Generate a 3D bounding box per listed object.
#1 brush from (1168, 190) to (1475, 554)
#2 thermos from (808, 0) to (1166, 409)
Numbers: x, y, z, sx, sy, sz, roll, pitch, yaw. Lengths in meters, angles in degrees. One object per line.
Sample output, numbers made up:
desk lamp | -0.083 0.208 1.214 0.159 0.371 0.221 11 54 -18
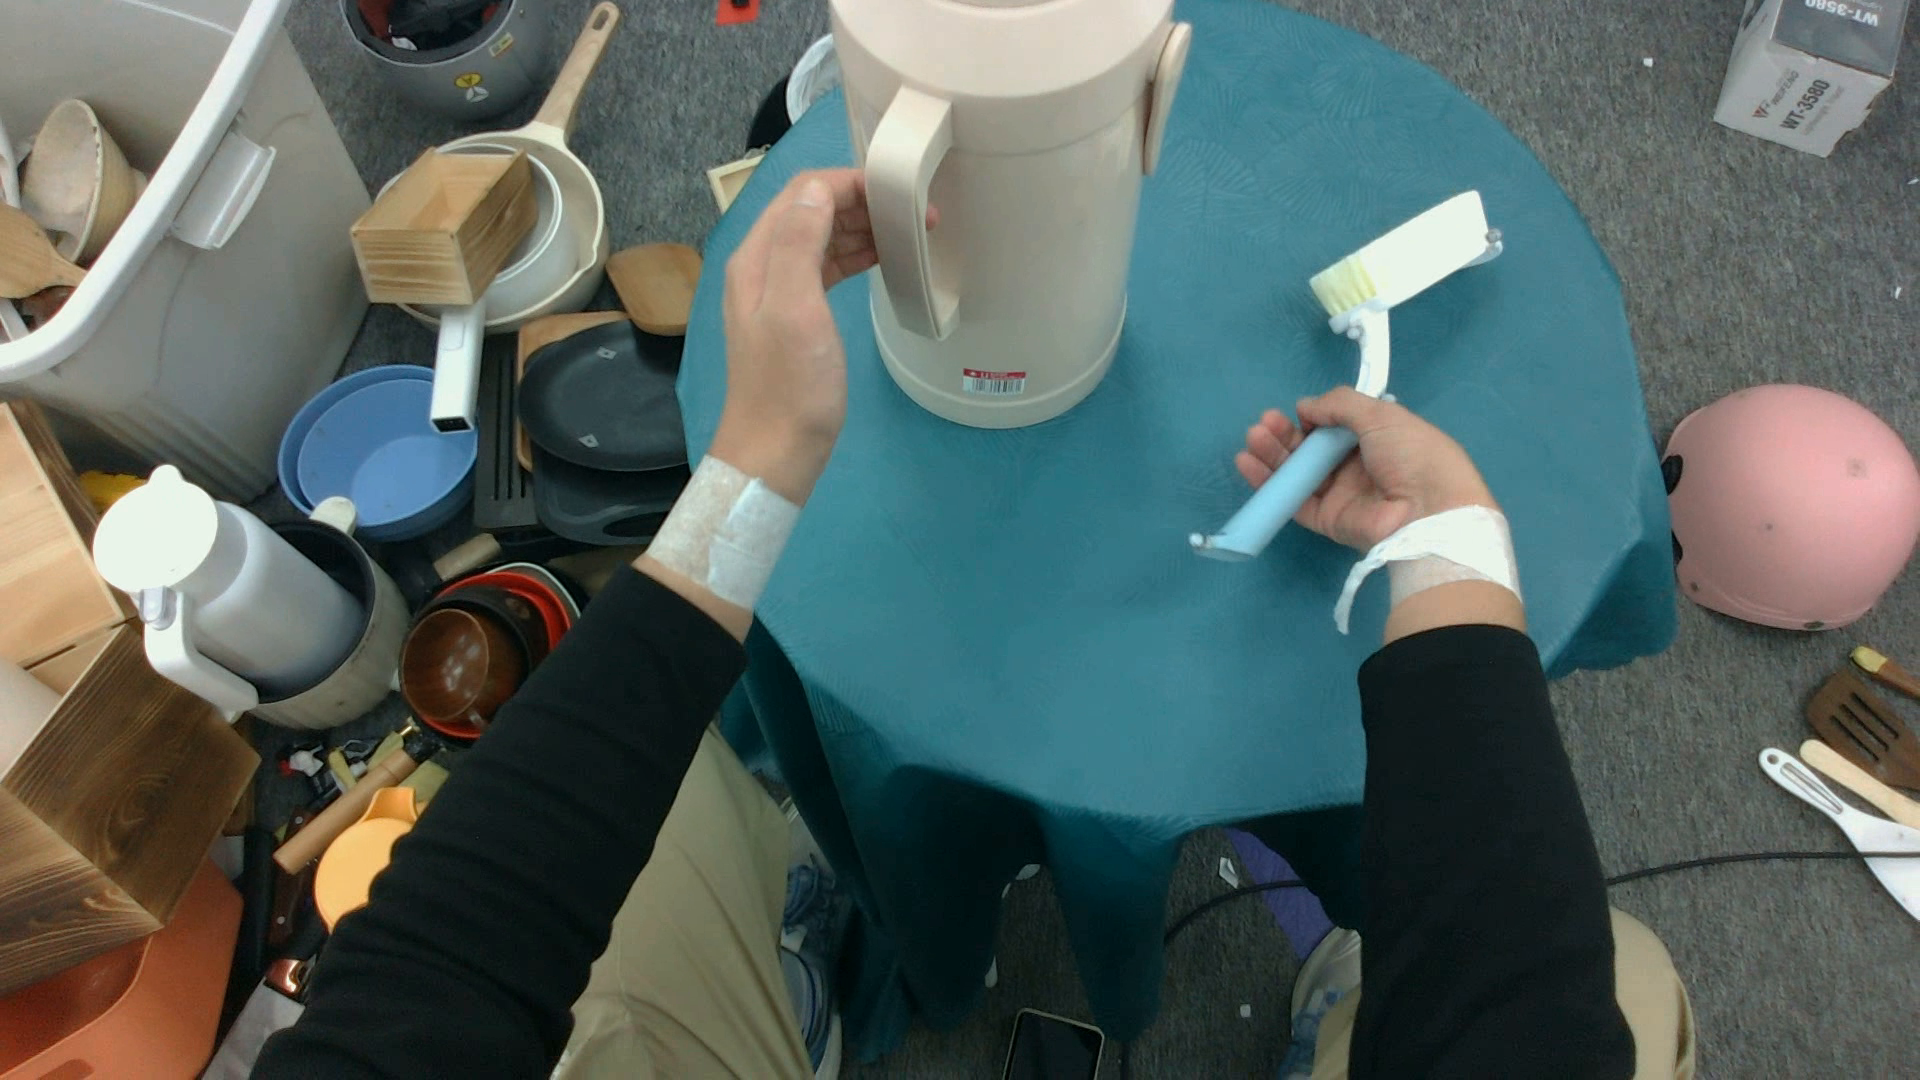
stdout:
brush | 0.202 -0.120 0.795 0.084 0.082 0.327 33 59 24
thermos | 0.001 -0.216 0.690 0.175 0.405 0.208 22 69 8
